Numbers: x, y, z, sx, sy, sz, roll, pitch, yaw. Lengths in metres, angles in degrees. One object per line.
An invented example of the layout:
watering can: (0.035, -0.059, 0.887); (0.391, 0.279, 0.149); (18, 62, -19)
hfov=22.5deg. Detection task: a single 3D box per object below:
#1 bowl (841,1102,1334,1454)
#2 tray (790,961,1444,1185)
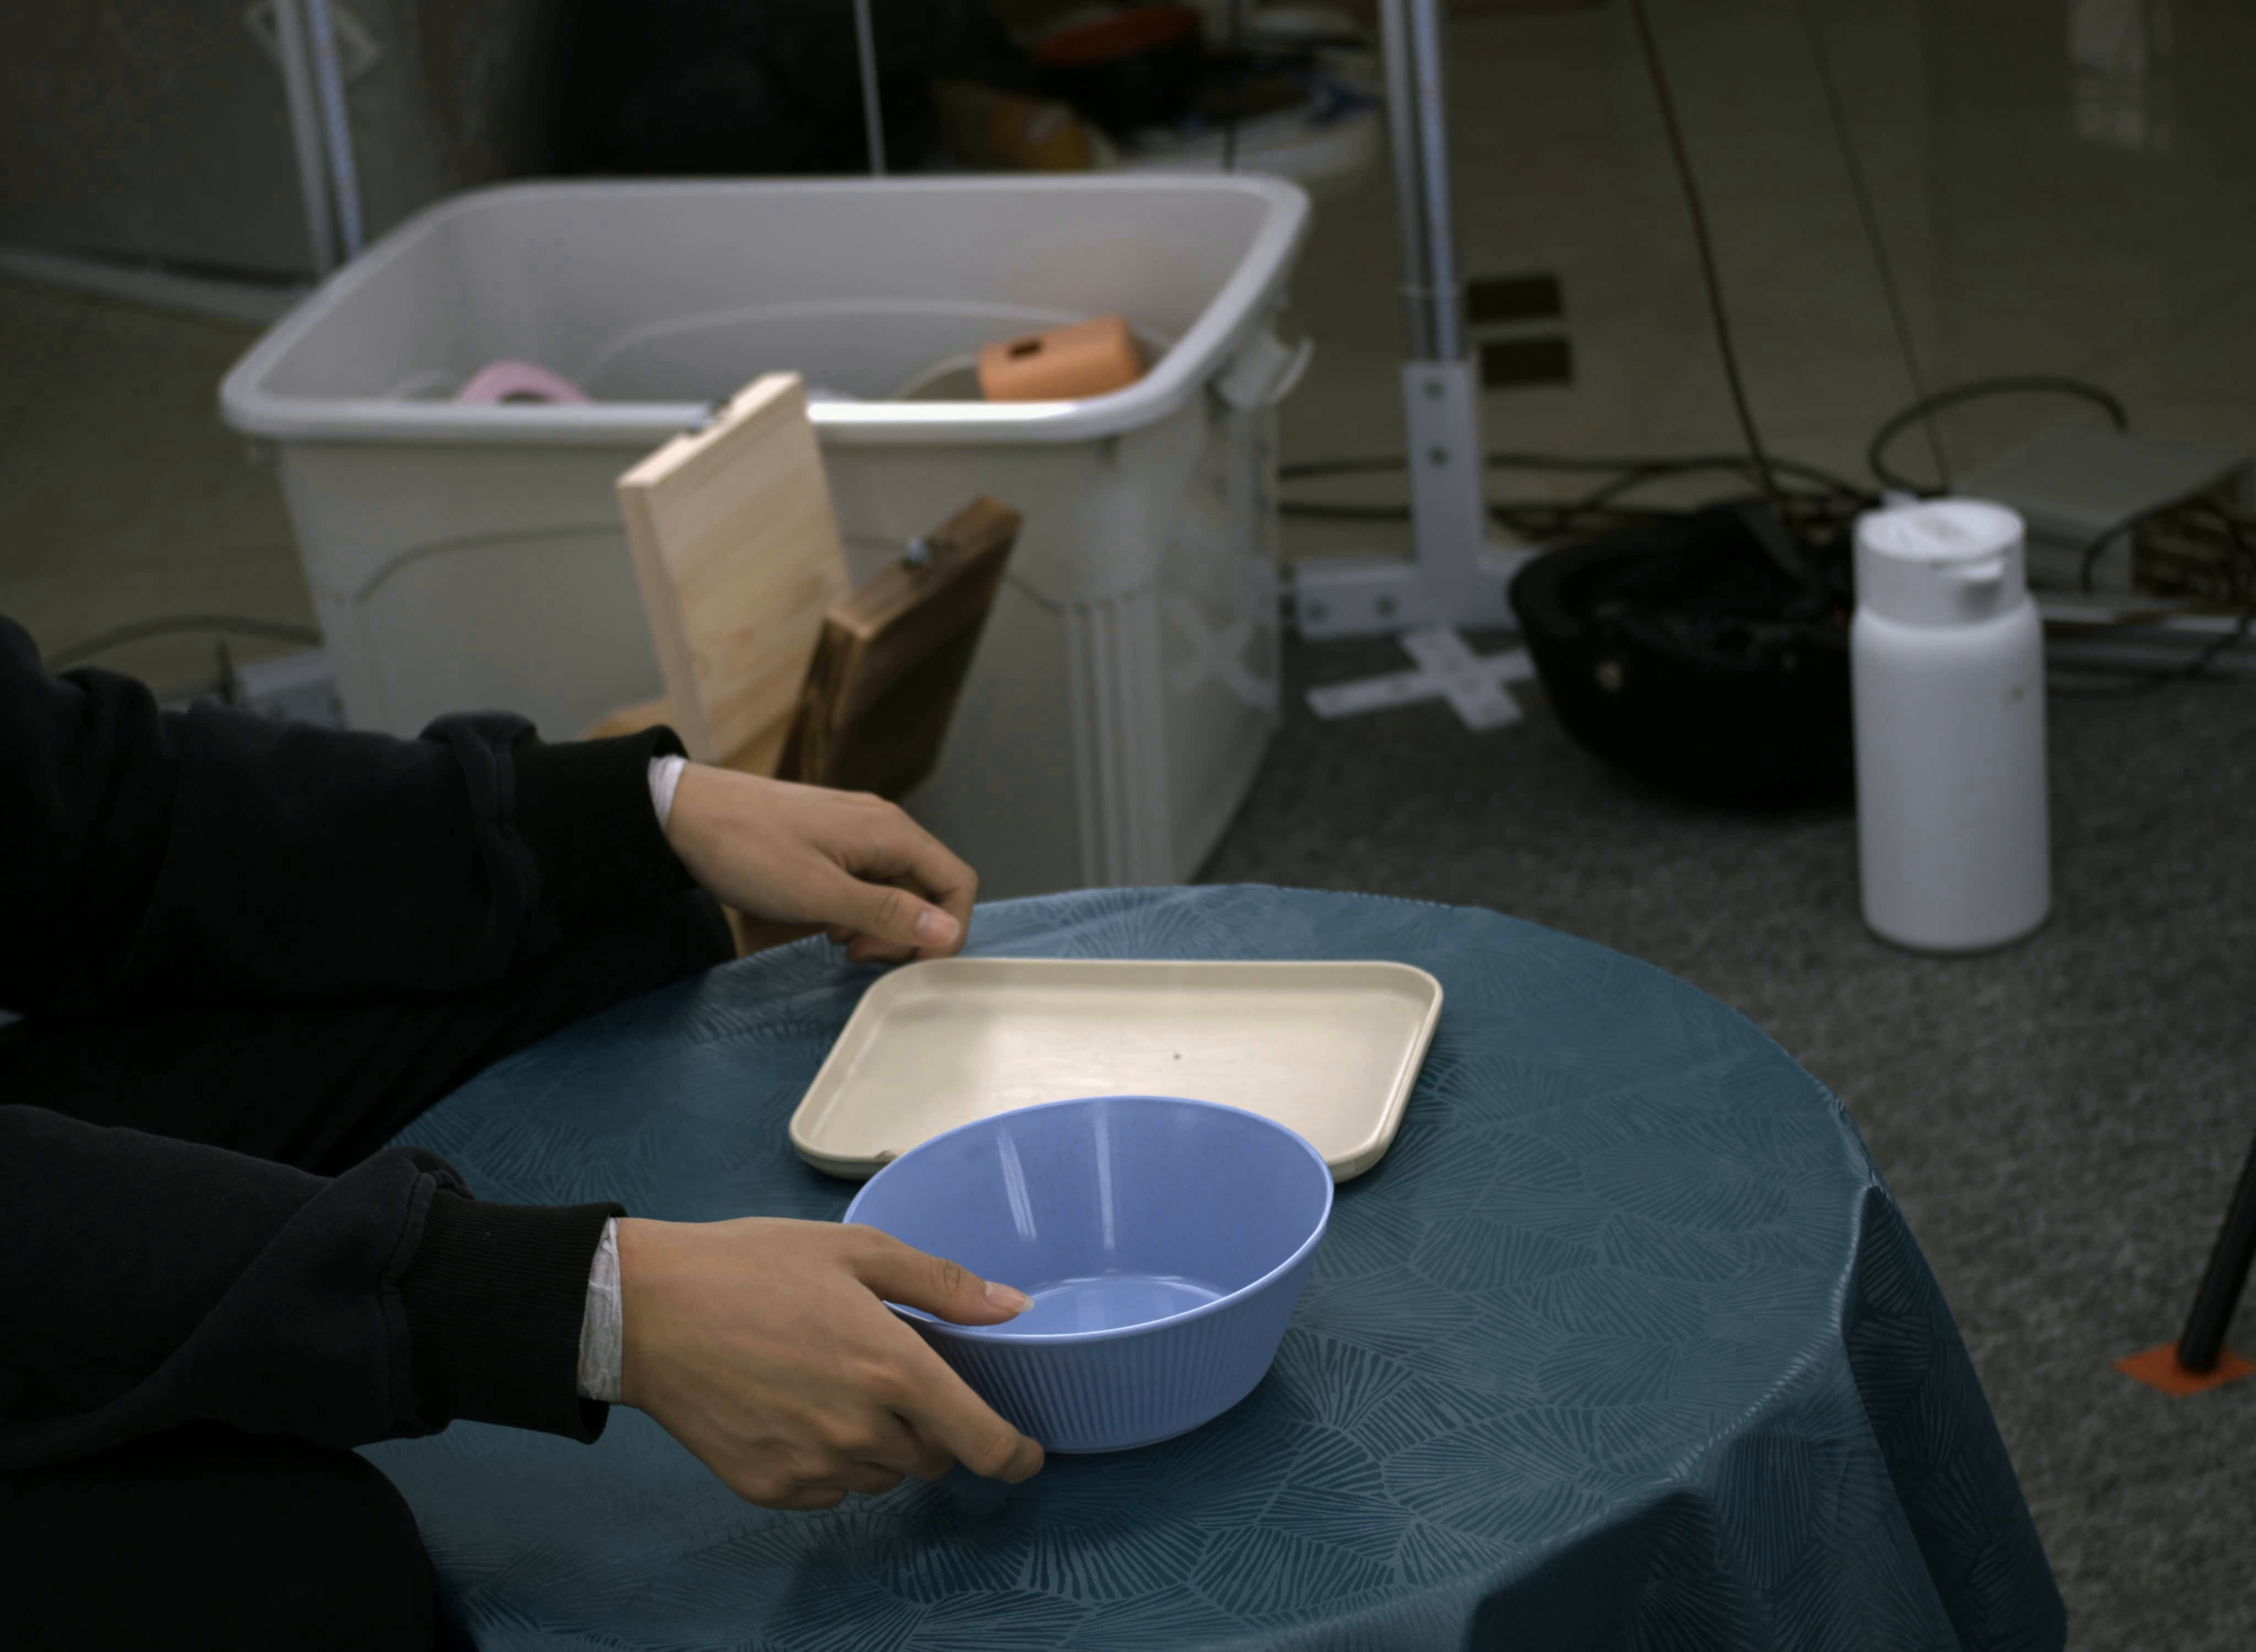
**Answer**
bowl: (-0.011, 0.166, 2.013); (0.176, 0.071, 0.173); (-6, 24, 3)
tray: (-0.002, 0.098, 2.221); (0.239, 0.018, 0.169); (0, 25, 14)
